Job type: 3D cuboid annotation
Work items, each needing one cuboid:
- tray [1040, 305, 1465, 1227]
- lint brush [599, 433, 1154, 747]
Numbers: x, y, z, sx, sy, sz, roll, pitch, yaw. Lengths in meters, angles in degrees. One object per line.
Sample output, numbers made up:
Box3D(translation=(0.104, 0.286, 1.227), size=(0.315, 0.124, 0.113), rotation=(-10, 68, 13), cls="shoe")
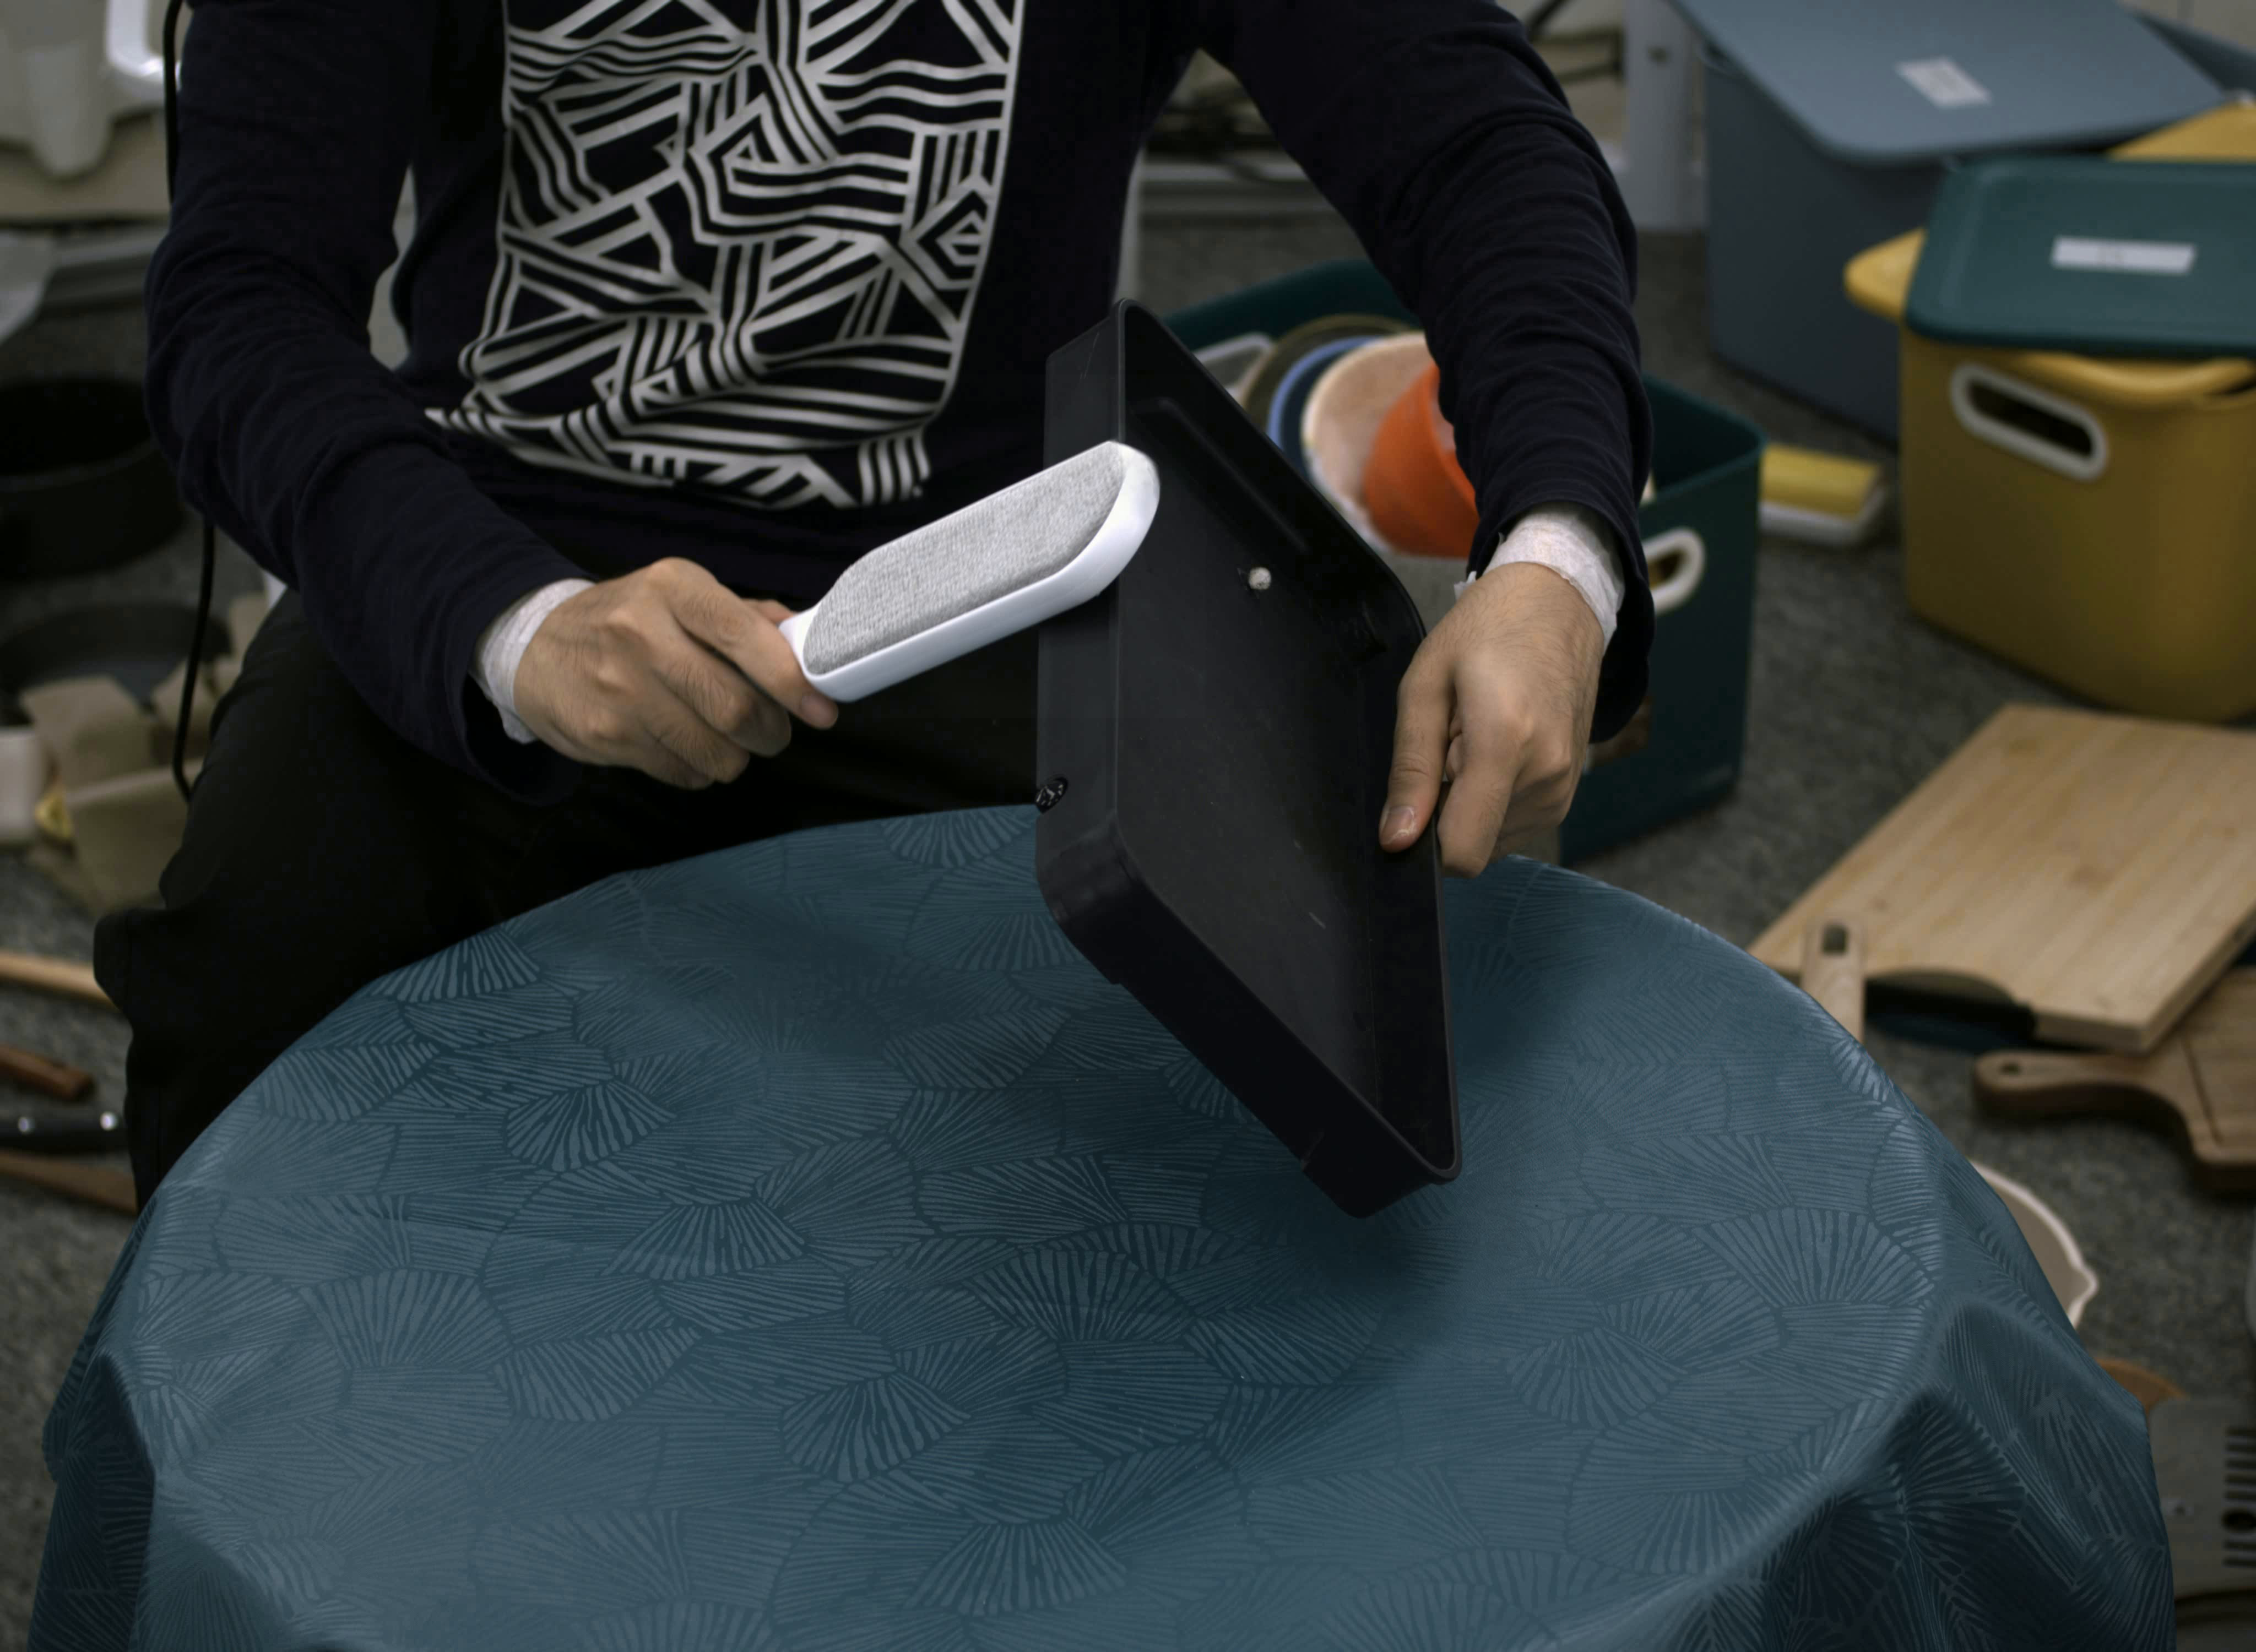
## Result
Box3D(translation=(0.041, -0.025, 1.864), size=(0.036, 0.183, 0.324), rotation=(-31, 31, 22), cls="tray")
Box3D(translation=(-0.090, -0.073, 1.905), size=(0.304, 0.021, 0.061), rotation=(-20, 47, 49), cls="lint brush")
